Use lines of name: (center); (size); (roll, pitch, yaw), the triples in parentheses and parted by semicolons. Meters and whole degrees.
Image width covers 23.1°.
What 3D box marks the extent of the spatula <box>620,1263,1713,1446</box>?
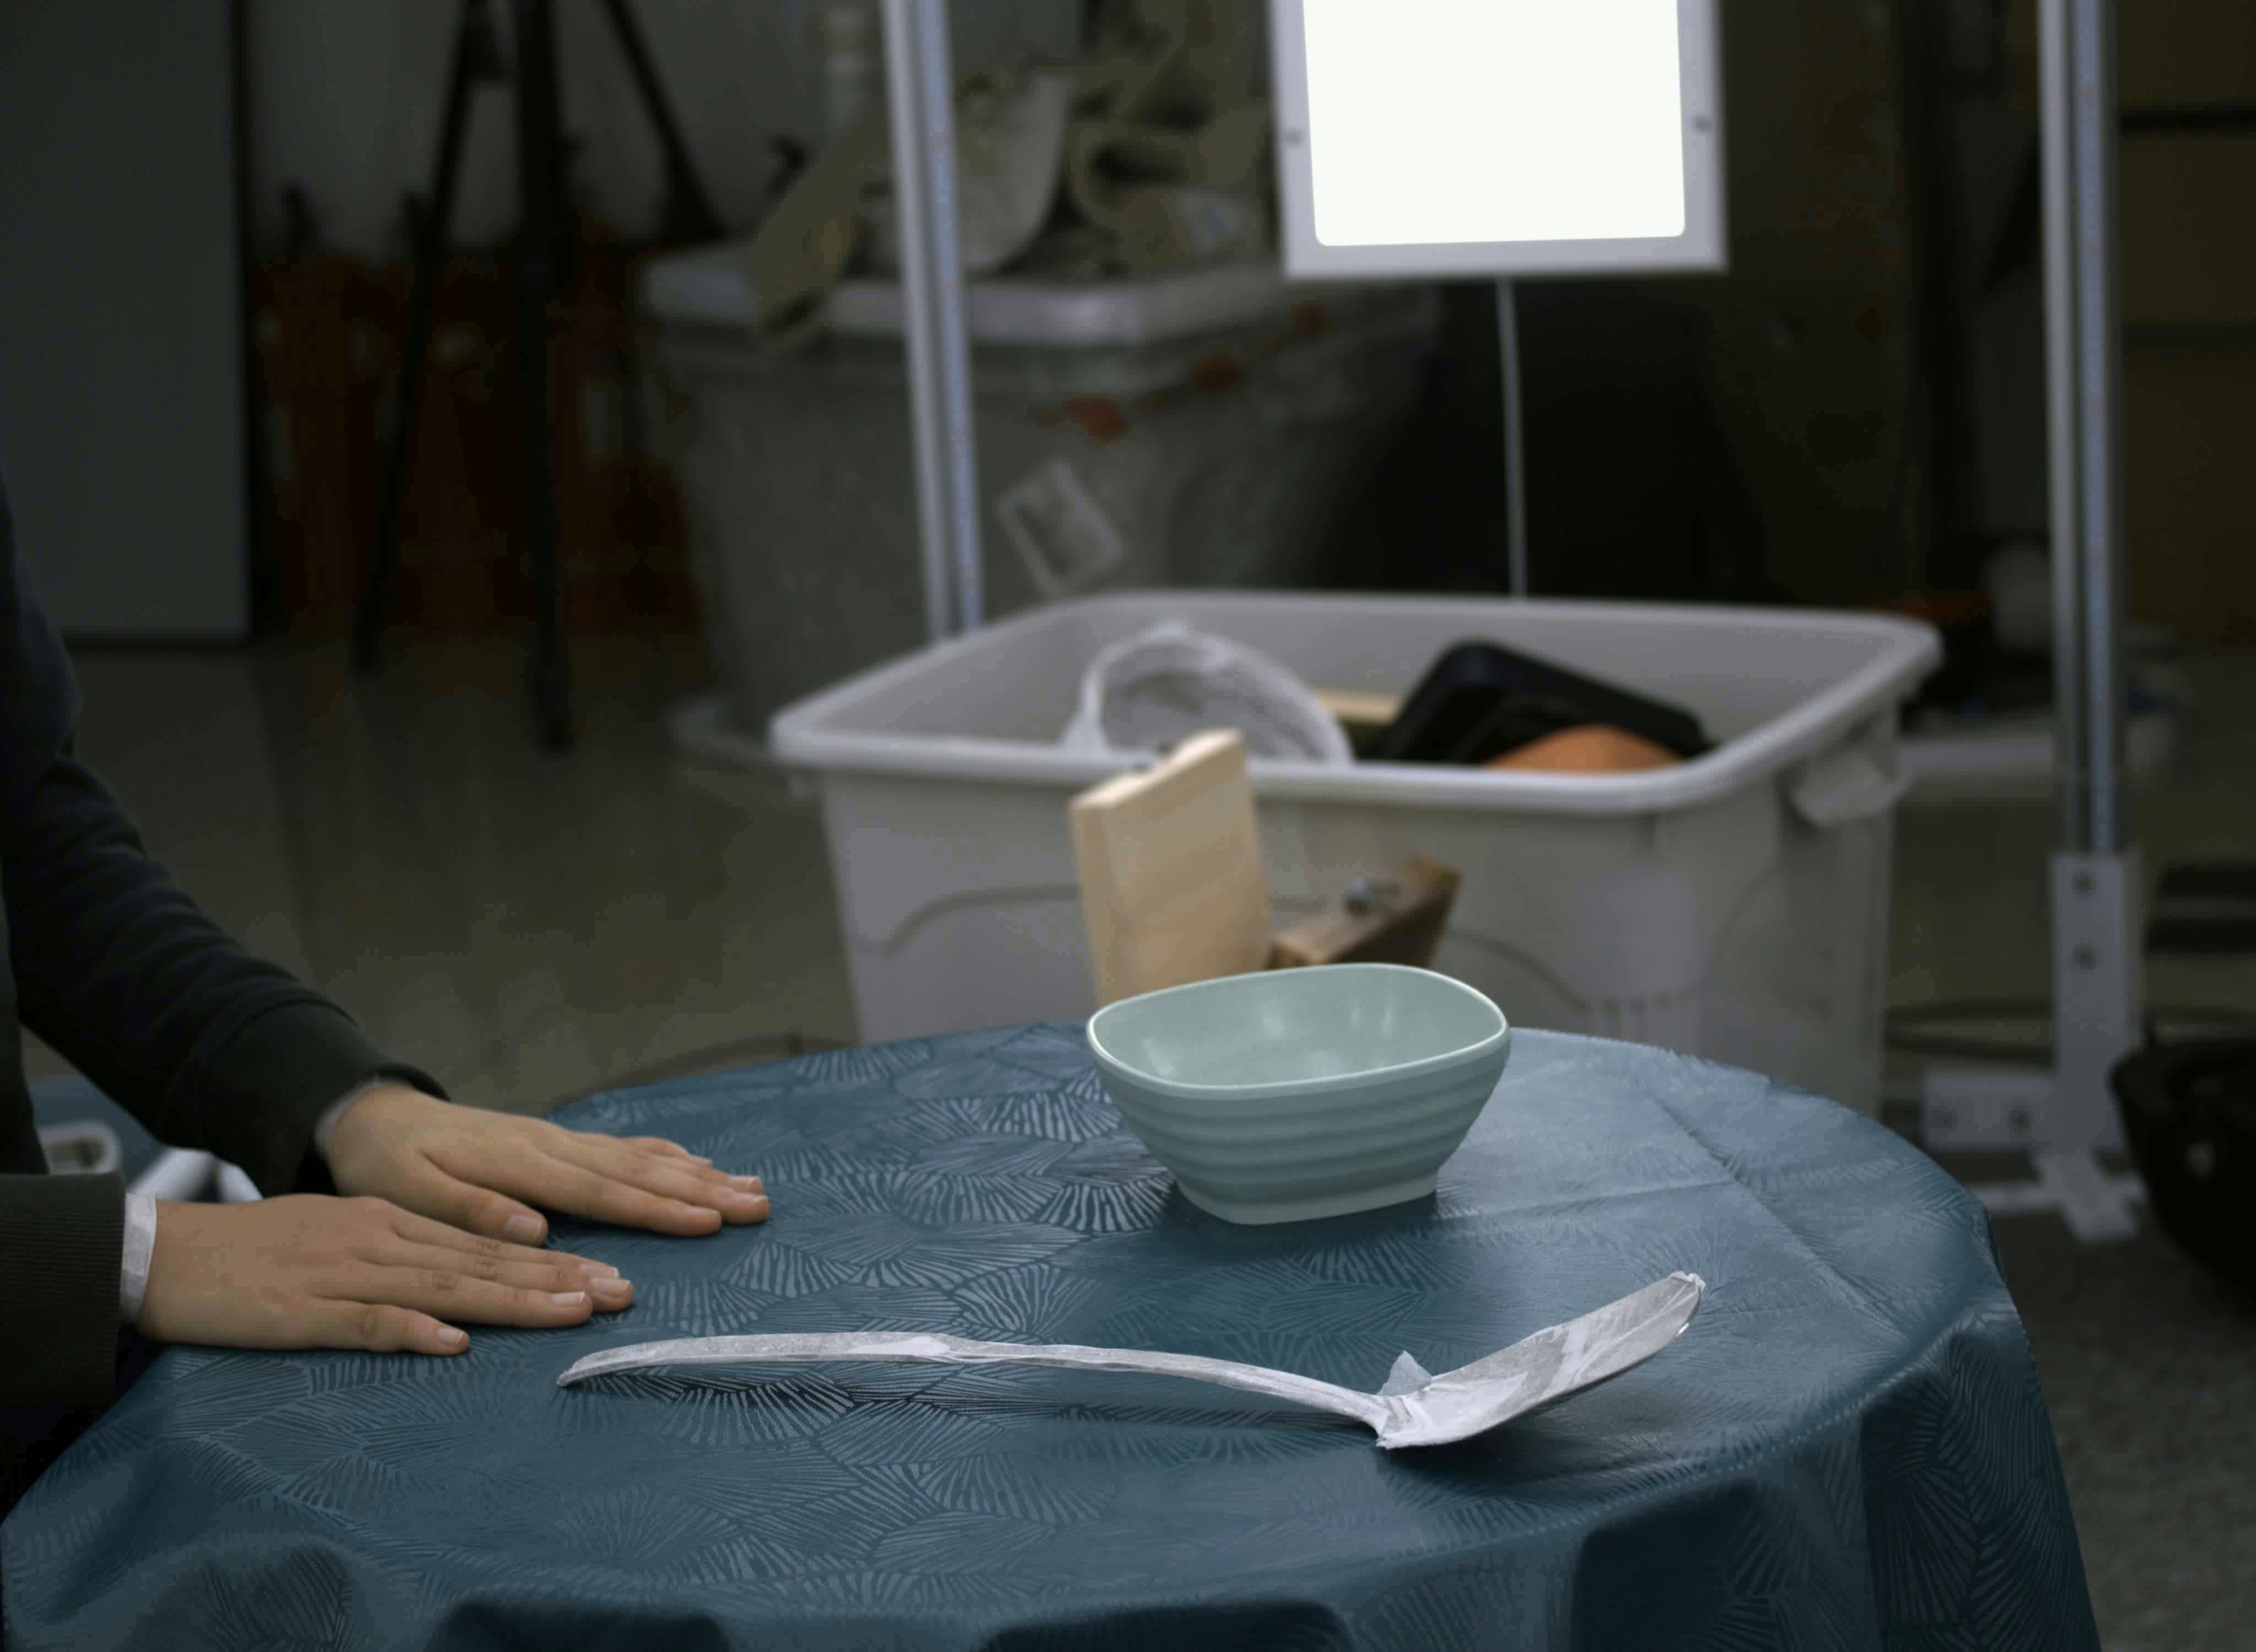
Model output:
spatula: (0.000, 0.158, 1.685); (0.370, 0.045, 0.097); (1, 17, 24)

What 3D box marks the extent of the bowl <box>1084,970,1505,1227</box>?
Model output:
bowl: (0.057, 0.096, 1.886); (0.151, 0.059, 0.151); (-2, 14, -1)
